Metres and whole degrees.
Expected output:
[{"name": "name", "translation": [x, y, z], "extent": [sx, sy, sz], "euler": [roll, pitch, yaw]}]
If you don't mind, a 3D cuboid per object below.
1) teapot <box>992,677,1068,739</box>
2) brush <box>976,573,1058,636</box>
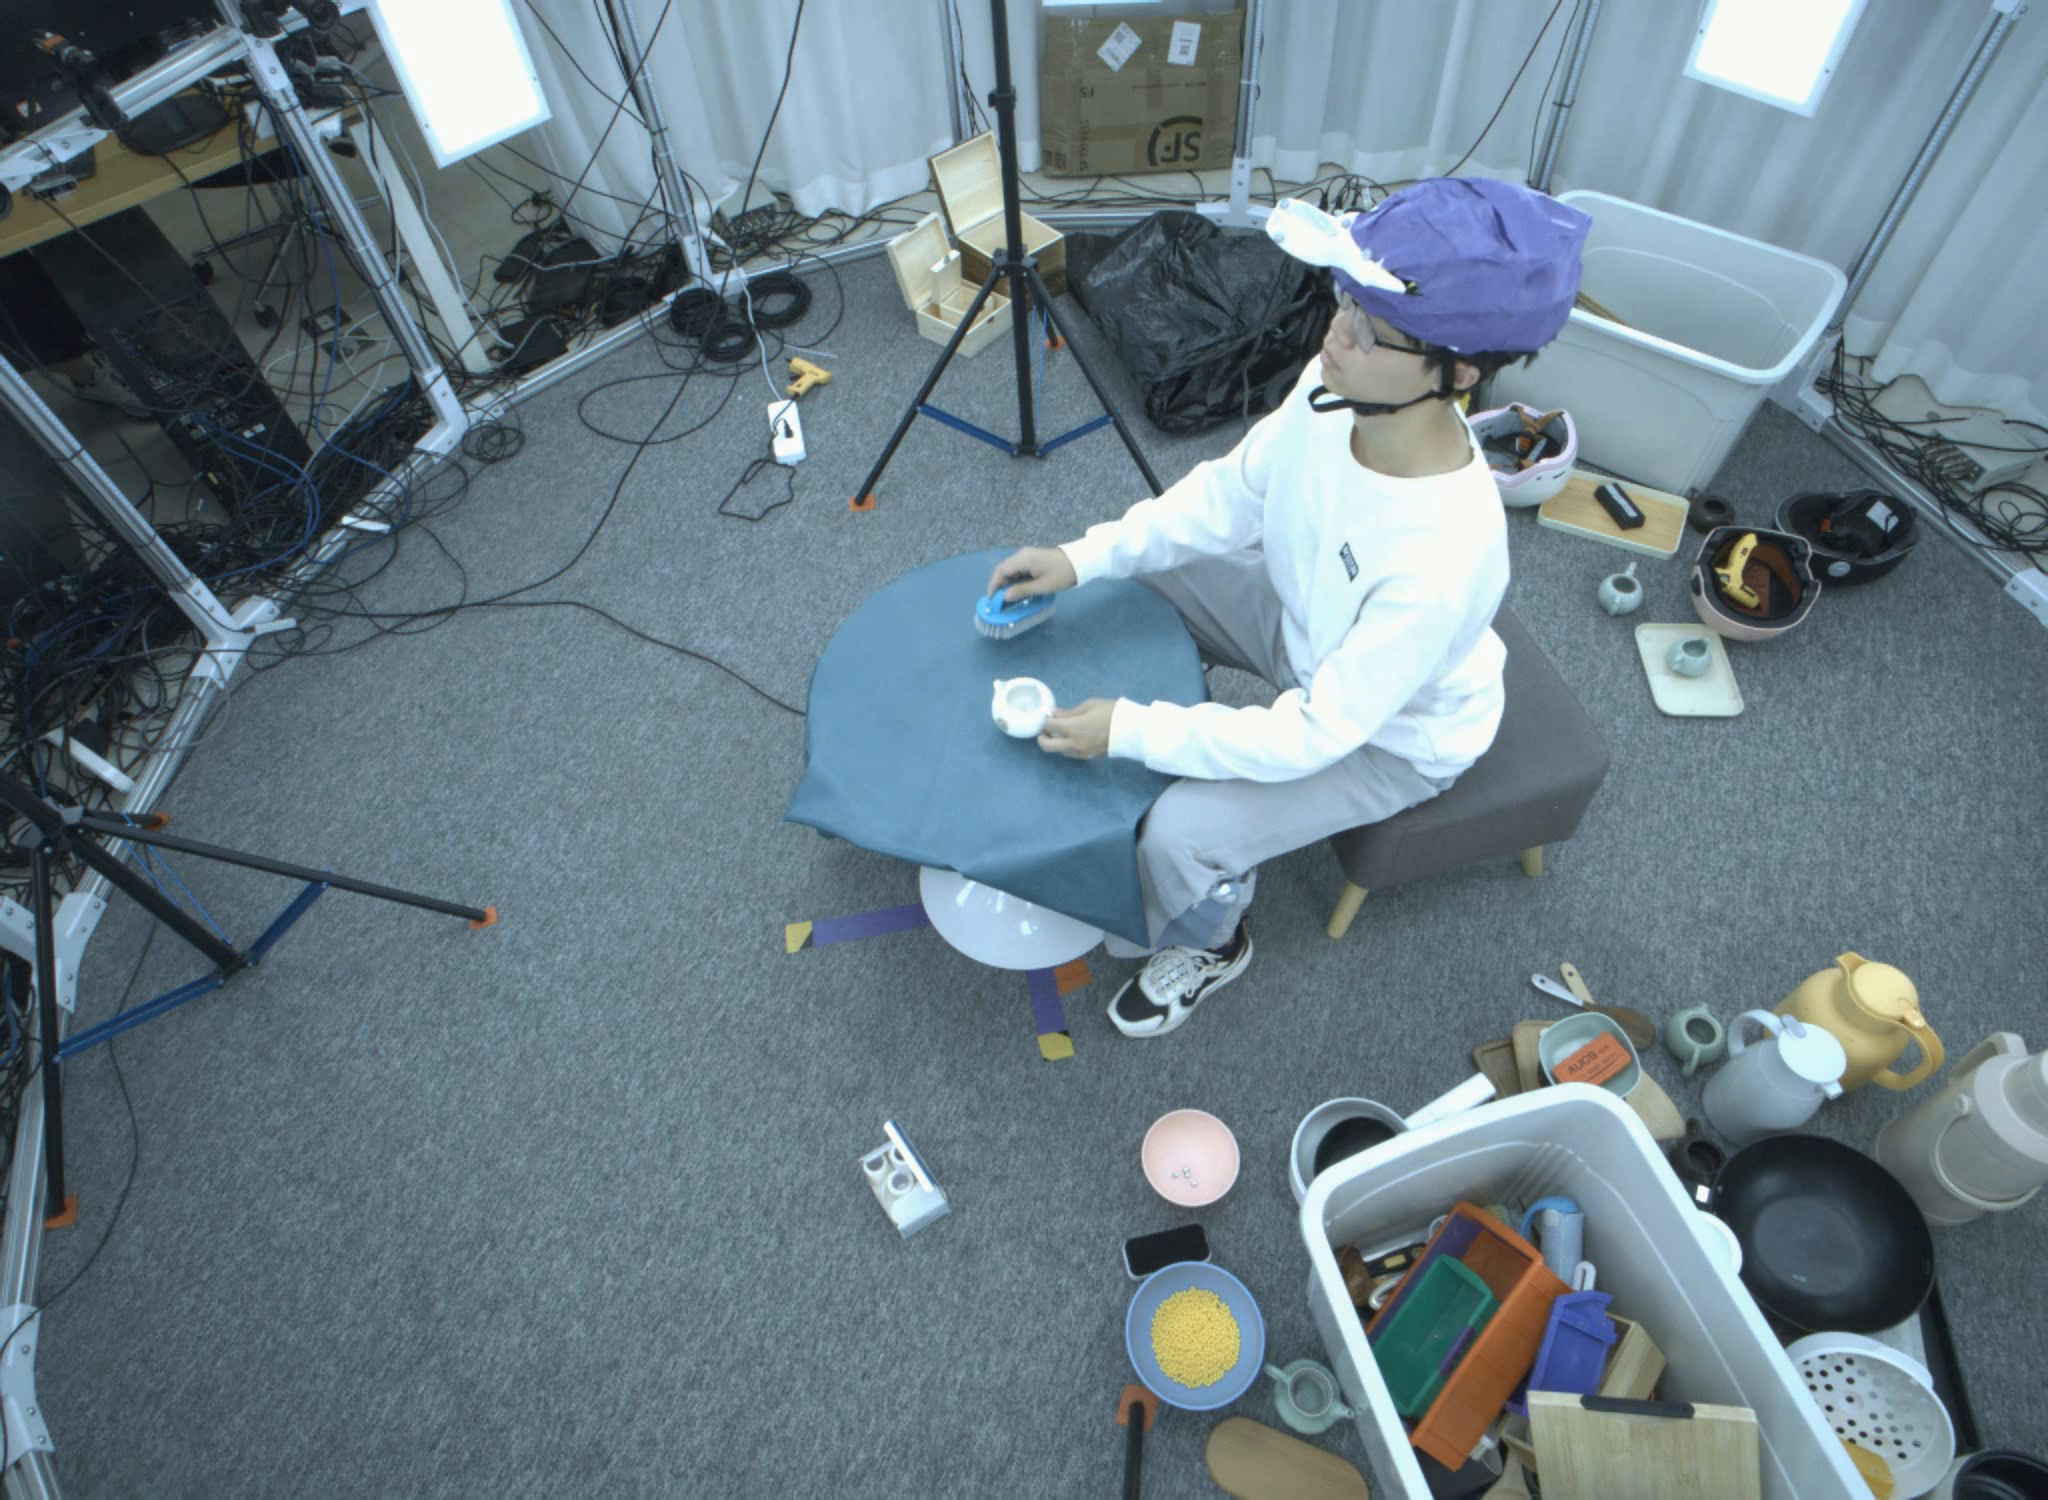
[{"name": "teapot", "translation": [0.009, -0.057, 1.769], "extent": [0.126, 0.057, 0.094], "euler": [27, 55, 15]}, {"name": "brush", "translation": [-0.014, -0.233, 1.877], "extent": [0.143, 0.064, 0.082], "euler": [-29, 50, -31]}]
